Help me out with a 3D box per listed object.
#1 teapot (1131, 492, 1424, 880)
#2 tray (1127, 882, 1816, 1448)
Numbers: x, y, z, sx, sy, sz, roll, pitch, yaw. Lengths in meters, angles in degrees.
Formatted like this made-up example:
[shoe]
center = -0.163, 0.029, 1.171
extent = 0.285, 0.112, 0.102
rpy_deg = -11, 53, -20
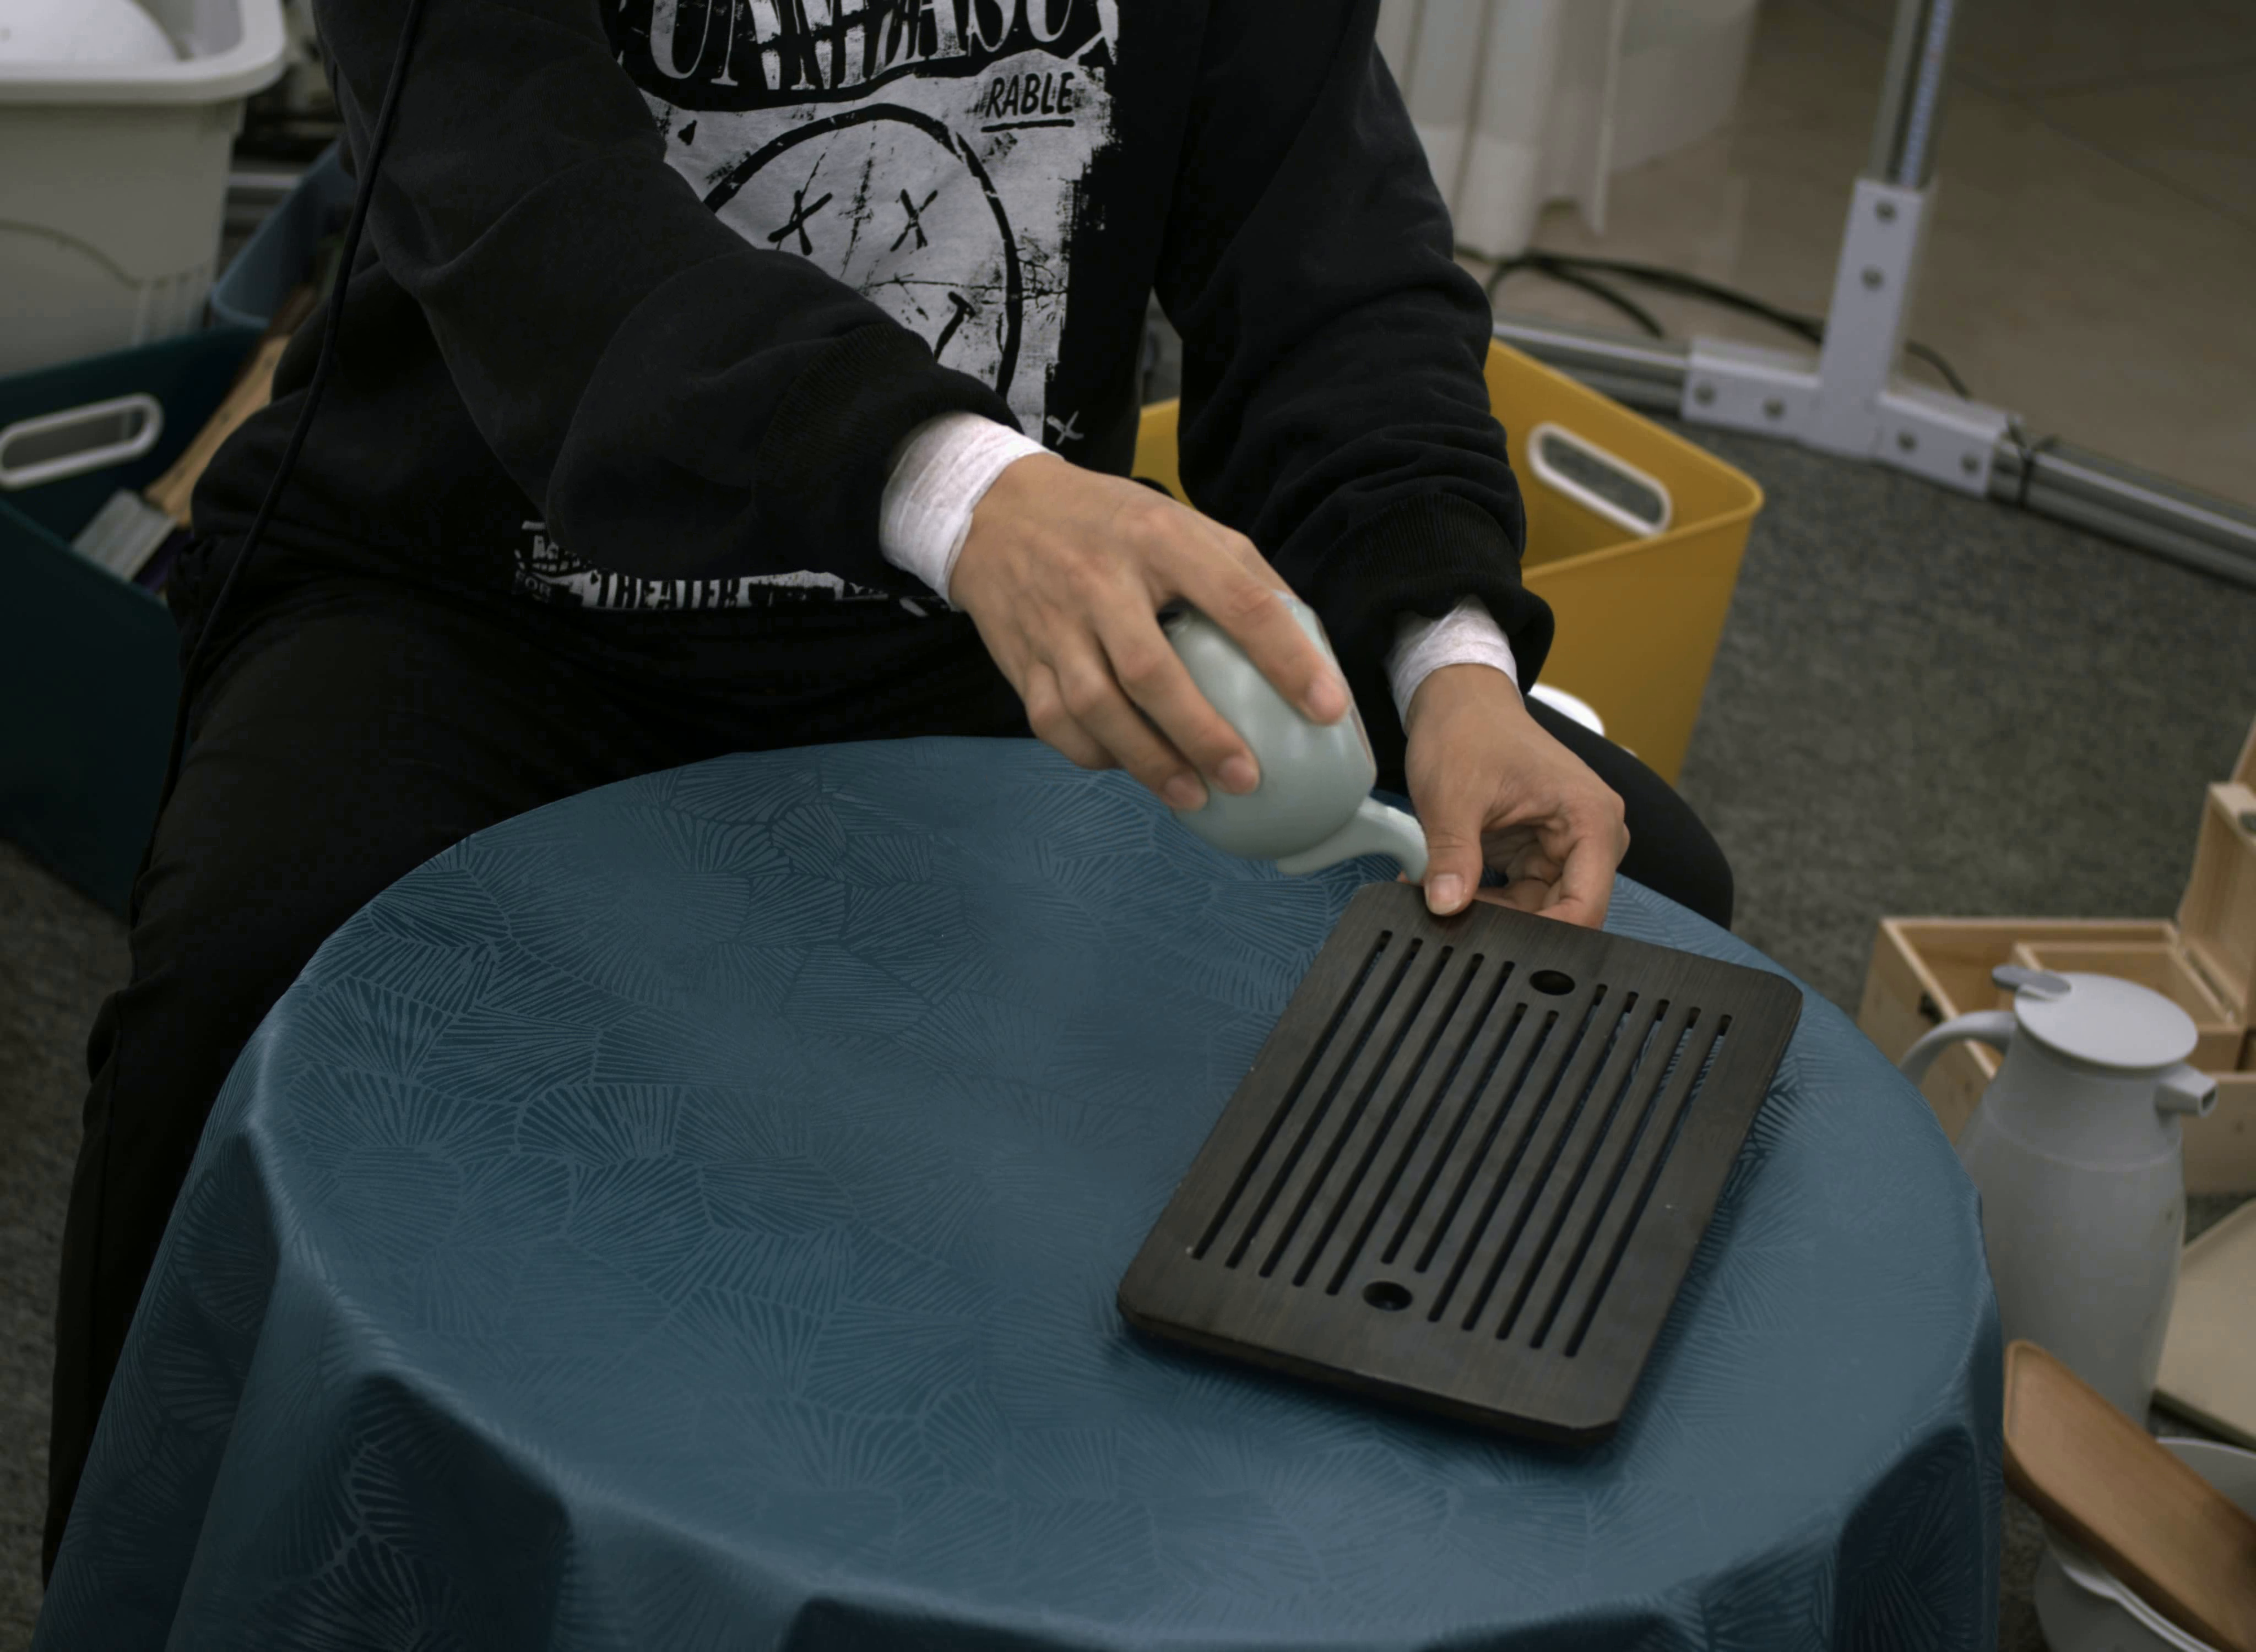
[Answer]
[teapot]
center = 0.042, -0.035, 1.723
extent = 0.074, 0.143, 0.089
rpy_deg = -19, 20, 5
[tray]
center = 0.123, 0.112, 1.820
extent = 0.170, 0.018, 0.306
rpy_deg = 13, 30, 14
